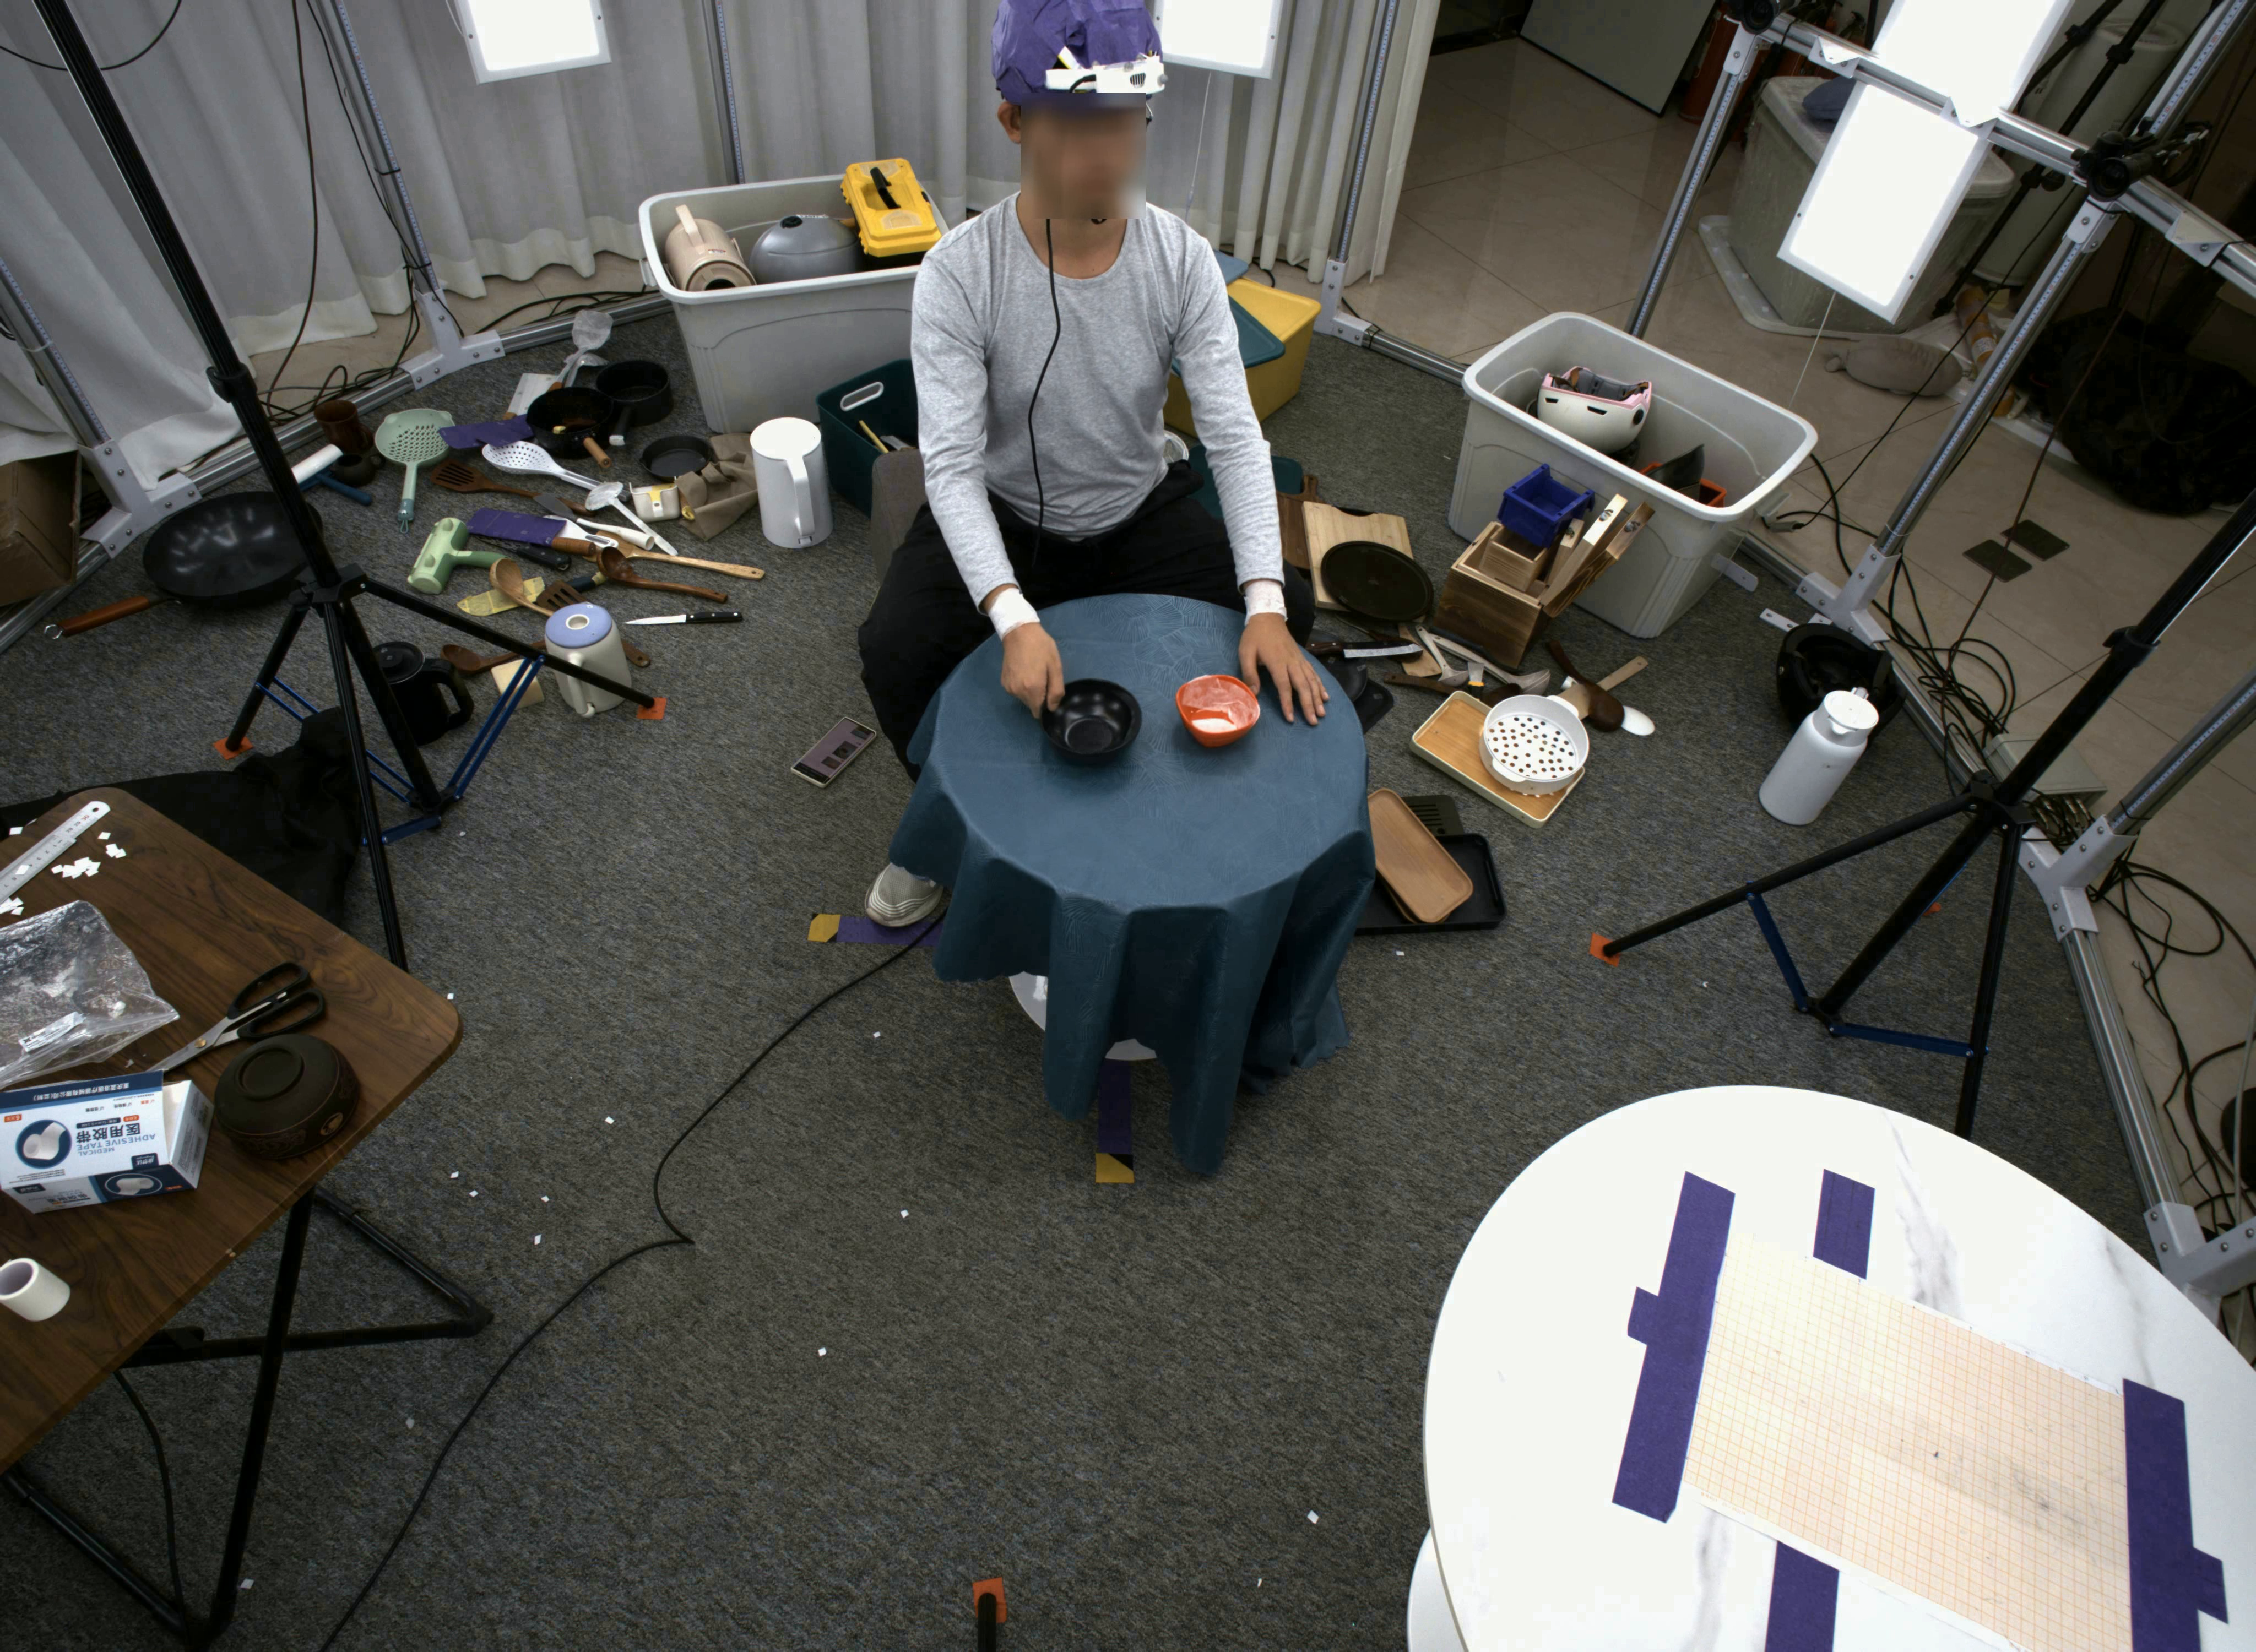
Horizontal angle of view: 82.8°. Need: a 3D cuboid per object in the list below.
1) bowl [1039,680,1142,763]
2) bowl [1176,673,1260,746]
[{"bbox_3d":[-0.051,-0.133,1.745,0.140,0.048,0.143,0,49,0],"label":"bowl"},{"bbox_3d":[0.122,-0.155,1.775,0.119,0.050,0.122,2,52,-2],"label":"bowl"}]
